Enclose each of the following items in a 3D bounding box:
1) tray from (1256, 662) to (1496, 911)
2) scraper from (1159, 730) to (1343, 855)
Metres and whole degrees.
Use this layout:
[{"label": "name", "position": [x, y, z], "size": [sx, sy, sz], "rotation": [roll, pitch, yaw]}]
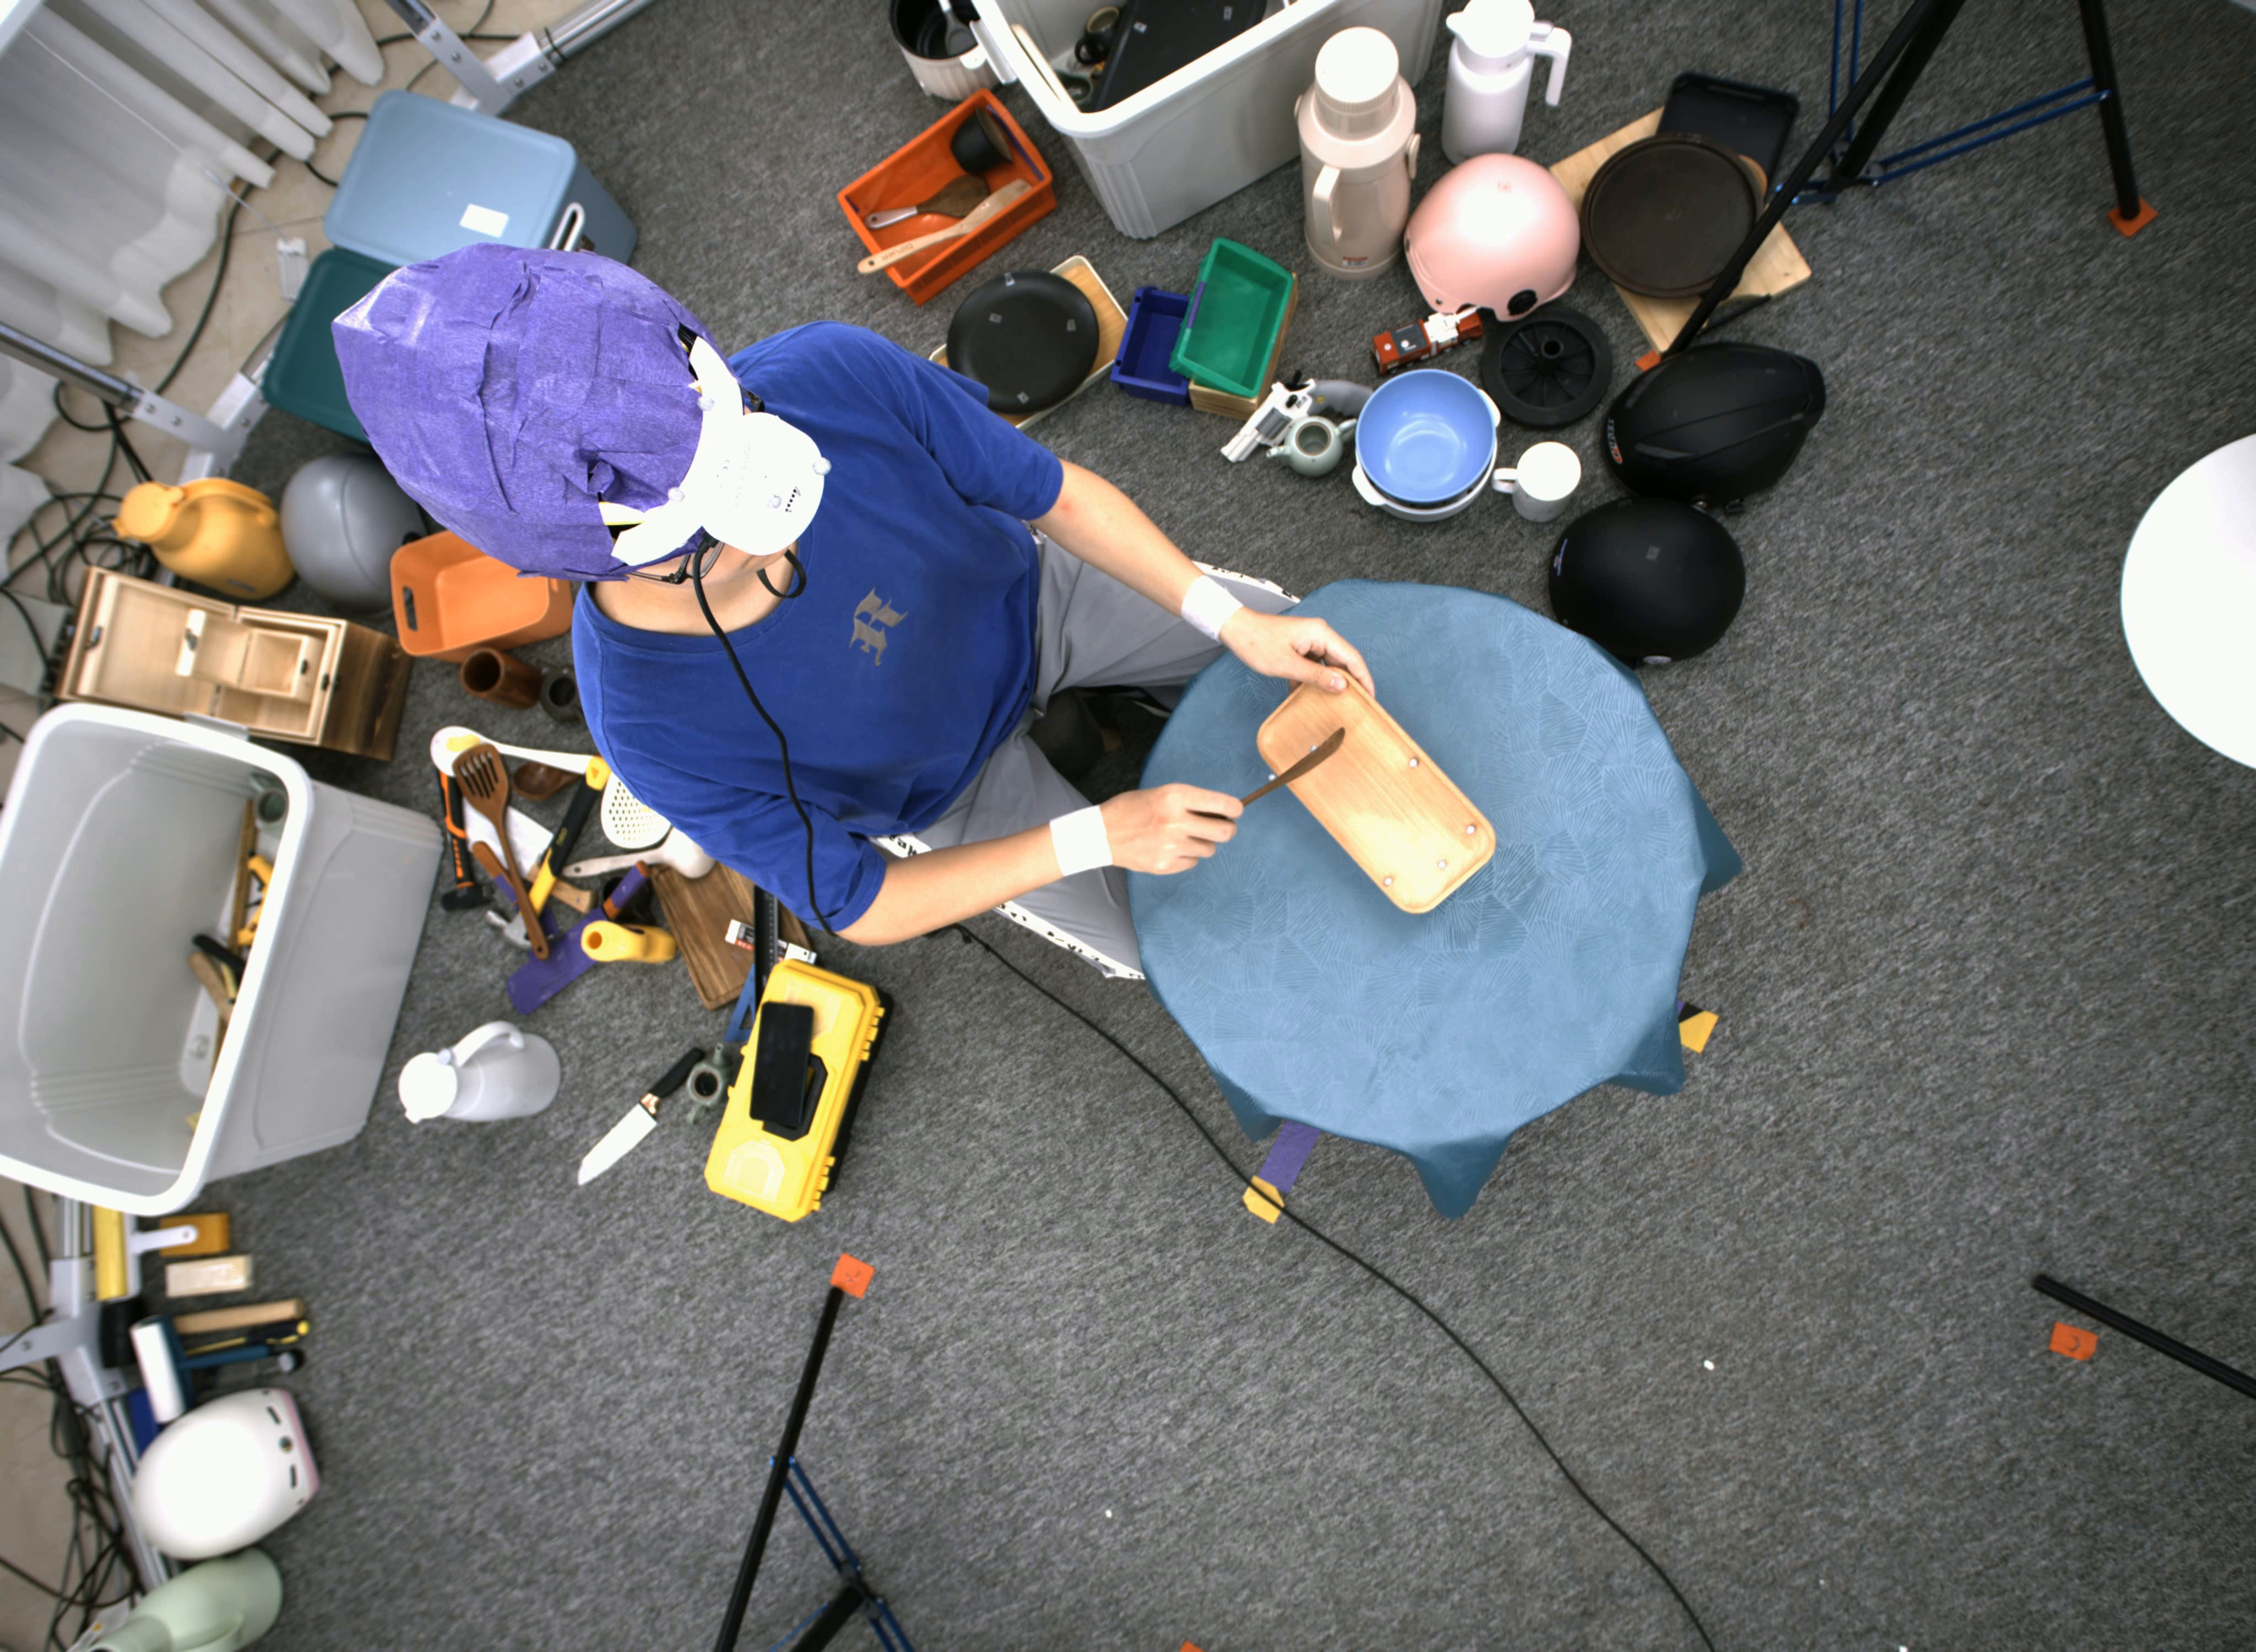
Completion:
[{"label": "tray", "position": [0.242, -0.040, 1.355], "size": [0.250, 0.022, 0.133], "rotation": [49, 119, 6]}, {"label": "scraper", "position": [0.120, -0.030, 1.334], "size": [0.212, 0.076, 0.011], "rotation": [-32, 82, 4]}]
